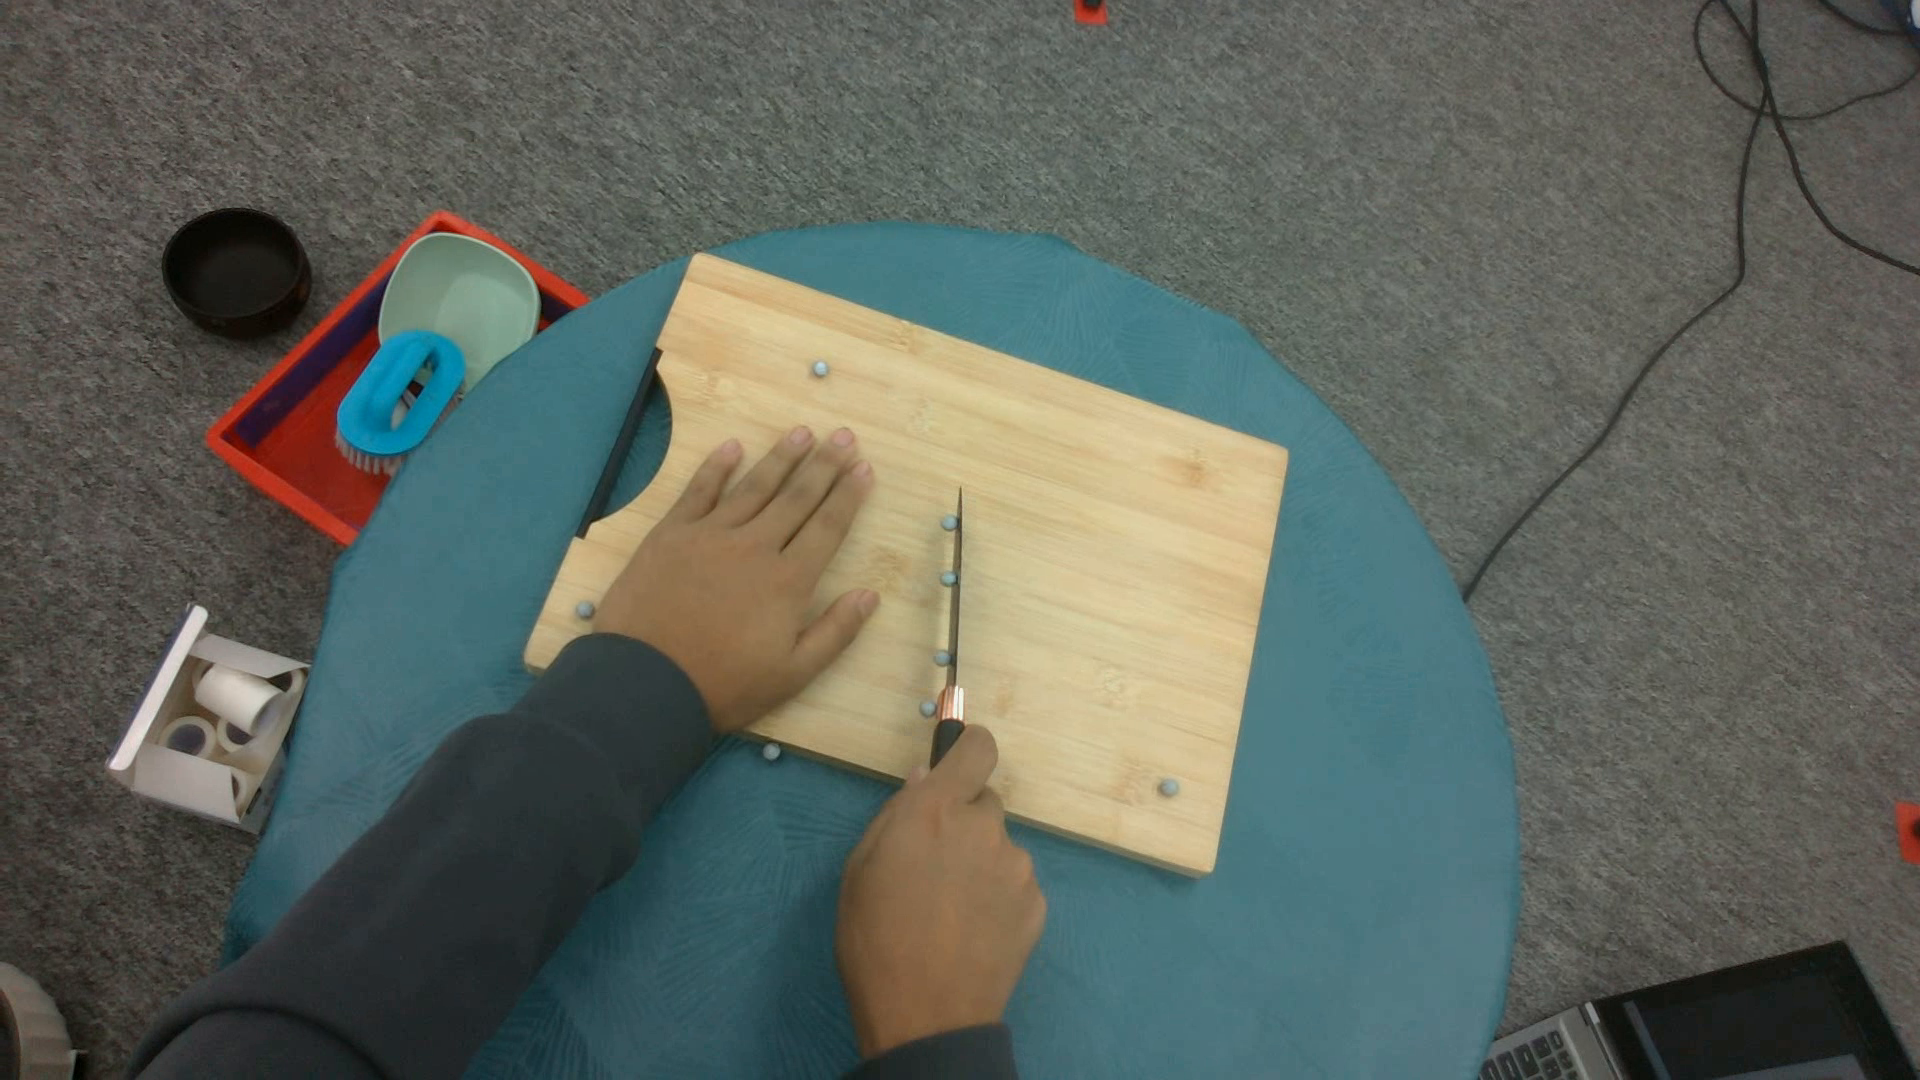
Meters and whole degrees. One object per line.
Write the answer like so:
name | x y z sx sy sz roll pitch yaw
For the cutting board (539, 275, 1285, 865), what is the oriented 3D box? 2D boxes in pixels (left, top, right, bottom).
cutting board | -0.010 0.009 0.717 0.349 0.023 0.251 14 65 -4

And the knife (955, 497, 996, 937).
knife | 0.005 0.076 0.661 0.017 0.026 0.226 2 63 -9
